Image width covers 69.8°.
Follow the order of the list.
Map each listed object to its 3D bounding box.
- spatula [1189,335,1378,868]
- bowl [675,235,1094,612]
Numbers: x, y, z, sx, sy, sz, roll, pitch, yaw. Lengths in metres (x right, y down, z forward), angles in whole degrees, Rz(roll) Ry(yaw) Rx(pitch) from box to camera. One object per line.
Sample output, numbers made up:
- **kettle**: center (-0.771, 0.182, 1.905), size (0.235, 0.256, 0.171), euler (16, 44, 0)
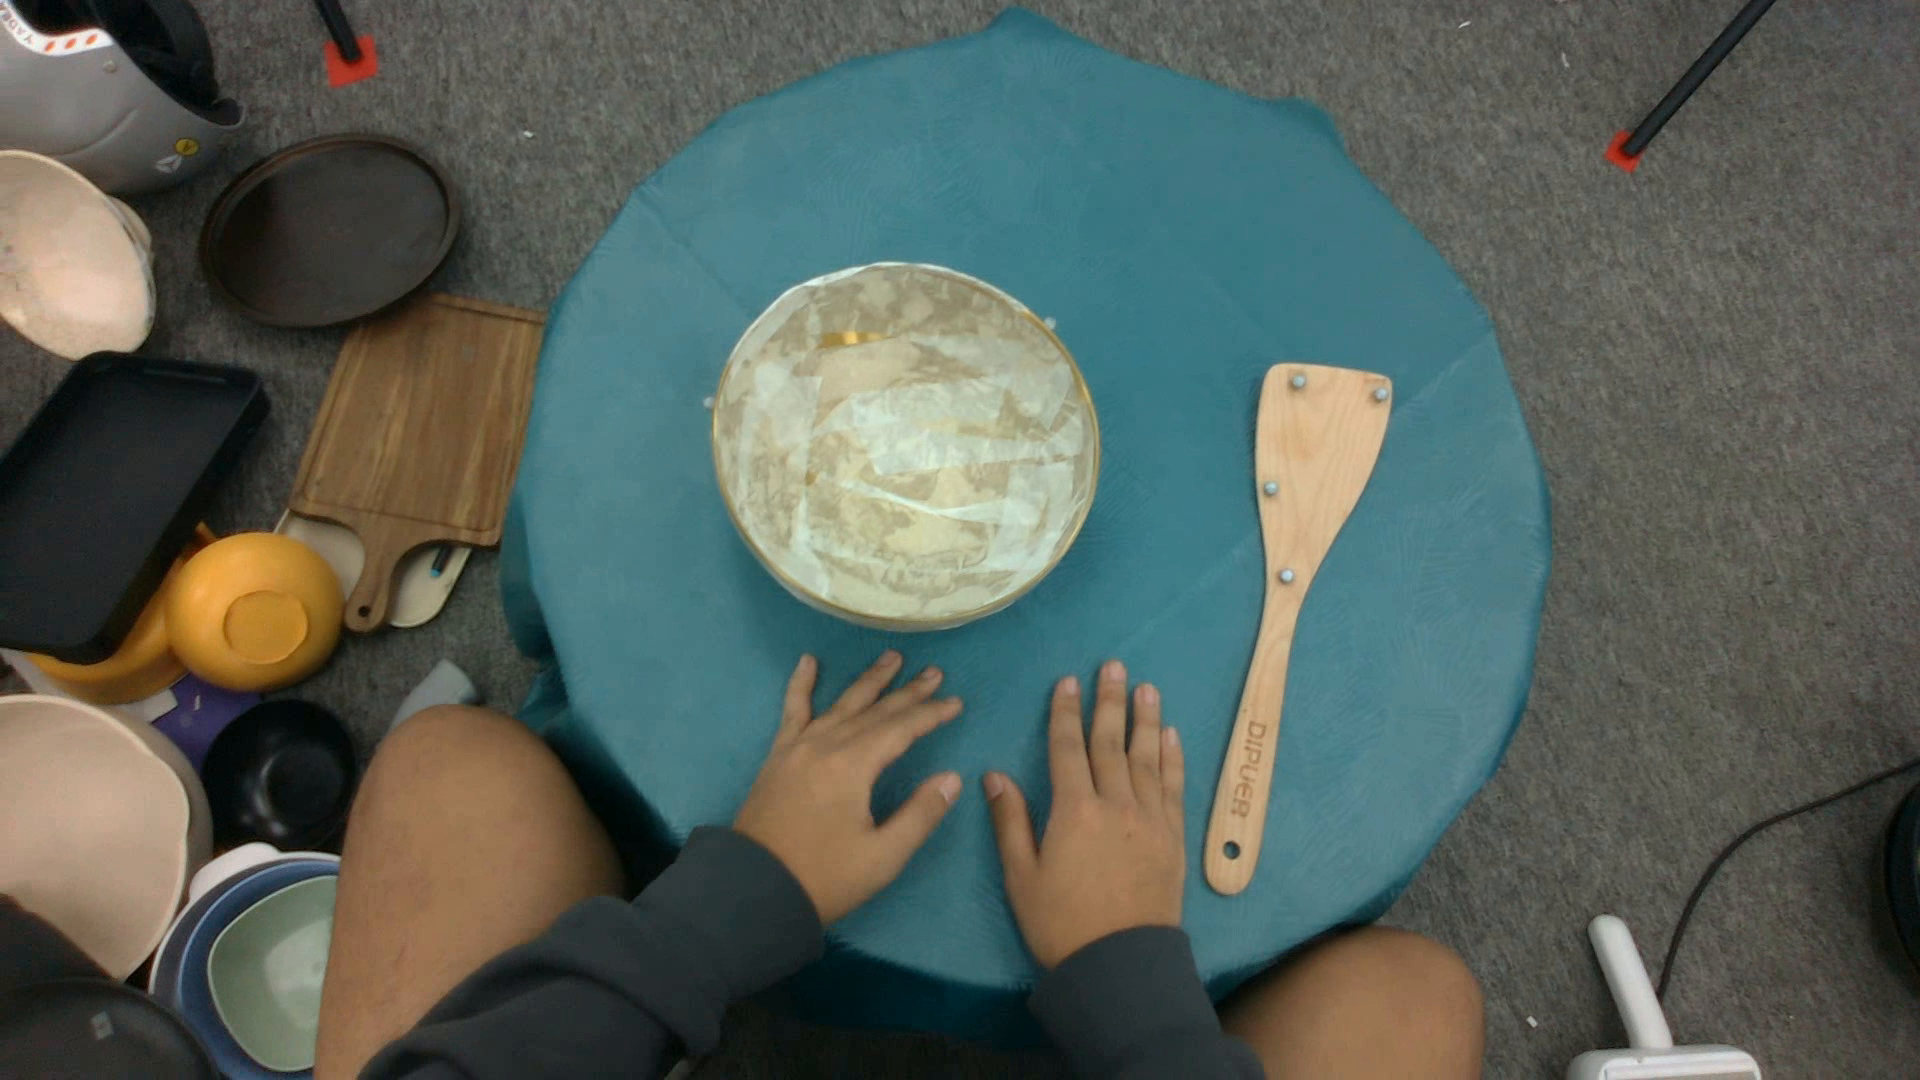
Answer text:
- **spatula**: center (0.175, 0.024, 0.783), size (0.080, 0.016, 0.328), euler (17, 69, -2)
- **bowl**: center (-0.039, -0.050, 0.736), size (0.215, 0.094, 0.215), euler (3, 69, -8)
